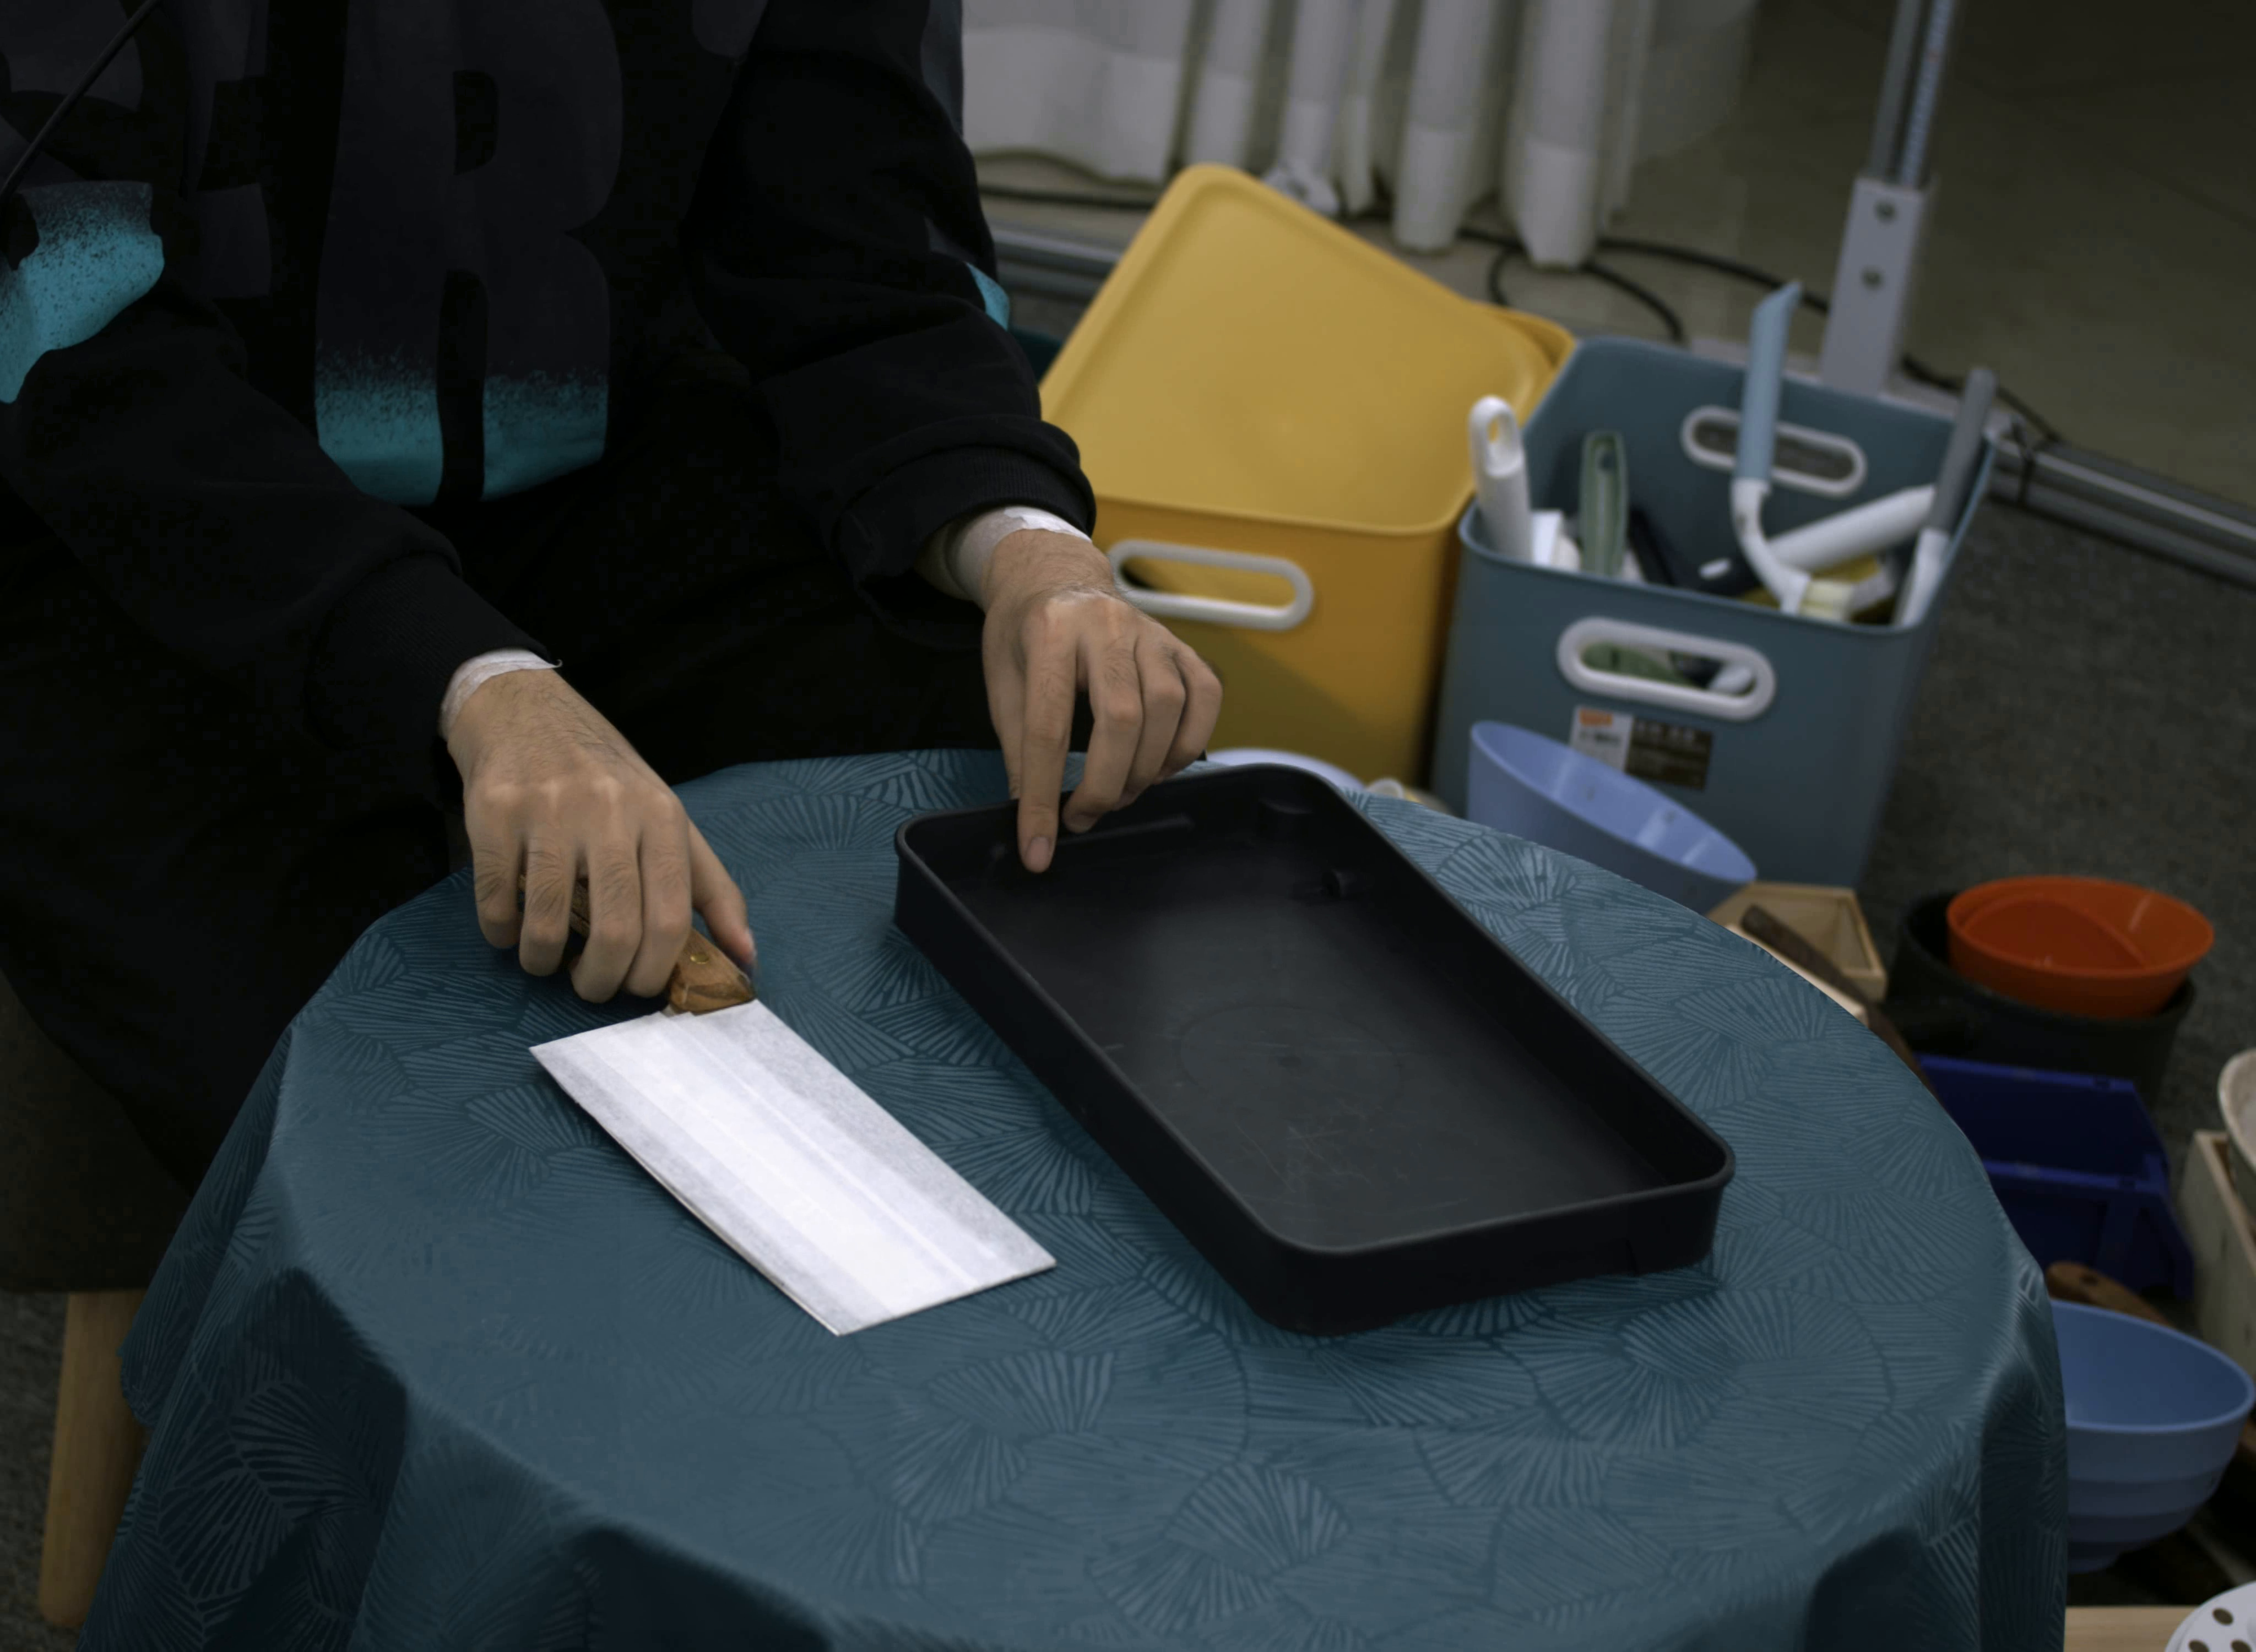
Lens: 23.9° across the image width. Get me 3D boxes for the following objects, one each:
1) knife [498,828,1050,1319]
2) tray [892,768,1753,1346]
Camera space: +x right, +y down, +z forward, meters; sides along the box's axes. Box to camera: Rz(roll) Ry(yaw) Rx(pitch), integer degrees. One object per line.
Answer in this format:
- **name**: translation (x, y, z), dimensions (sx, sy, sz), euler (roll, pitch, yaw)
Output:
- **knife**: translation (-0.147, 0.084, 1.830), dimensions (0.092, 0.021, 0.308), euler (-16, 37, -34)
- **tray**: translation (0.061, 0.074, 1.872), dimensions (0.183, 0.037, 0.321), euler (-10, 31, -28)
